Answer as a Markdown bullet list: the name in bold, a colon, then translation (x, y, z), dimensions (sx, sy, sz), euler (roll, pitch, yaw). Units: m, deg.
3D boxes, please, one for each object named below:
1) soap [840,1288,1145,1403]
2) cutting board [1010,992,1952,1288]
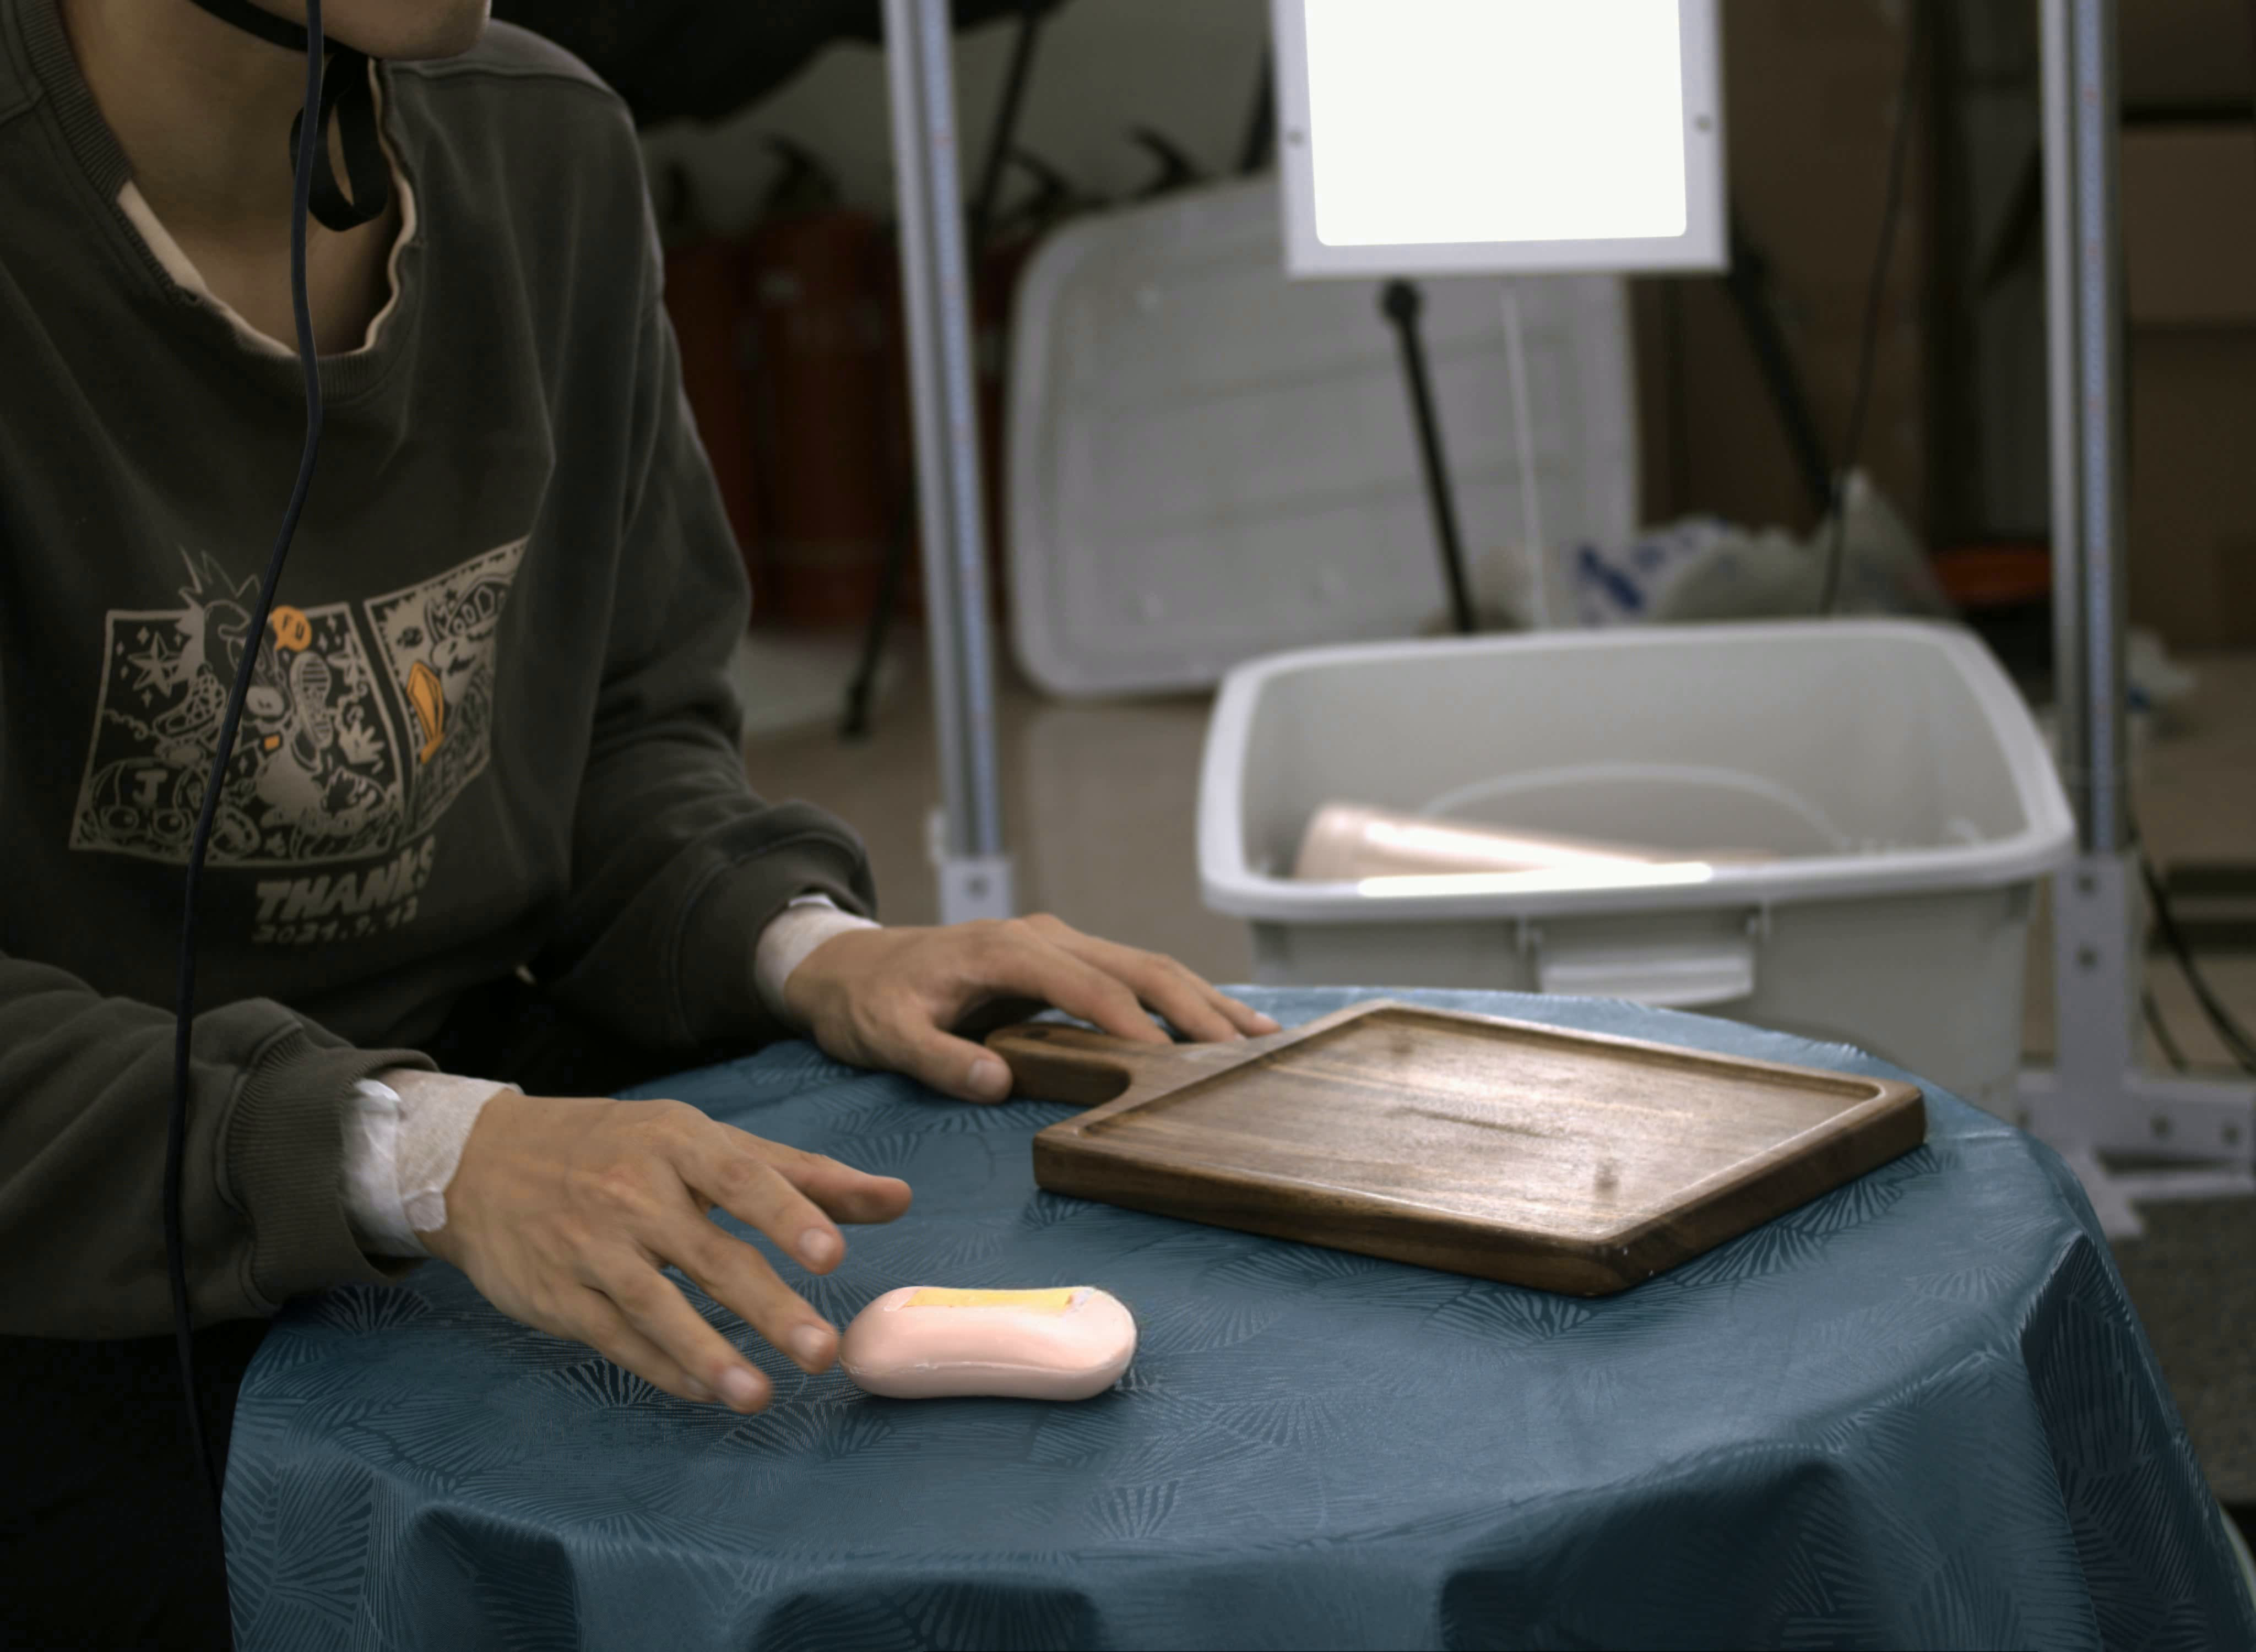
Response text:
- **soap**: translation (-0.042, 0.162, 1.712), dimensions (0.095, 0.030, 0.049), euler (-2, 13, 17)
- **cutting board**: translation (0.094, 0.099, 1.930), dimensions (0.360, 0.023, 0.196), euler (8, 19, 43)
